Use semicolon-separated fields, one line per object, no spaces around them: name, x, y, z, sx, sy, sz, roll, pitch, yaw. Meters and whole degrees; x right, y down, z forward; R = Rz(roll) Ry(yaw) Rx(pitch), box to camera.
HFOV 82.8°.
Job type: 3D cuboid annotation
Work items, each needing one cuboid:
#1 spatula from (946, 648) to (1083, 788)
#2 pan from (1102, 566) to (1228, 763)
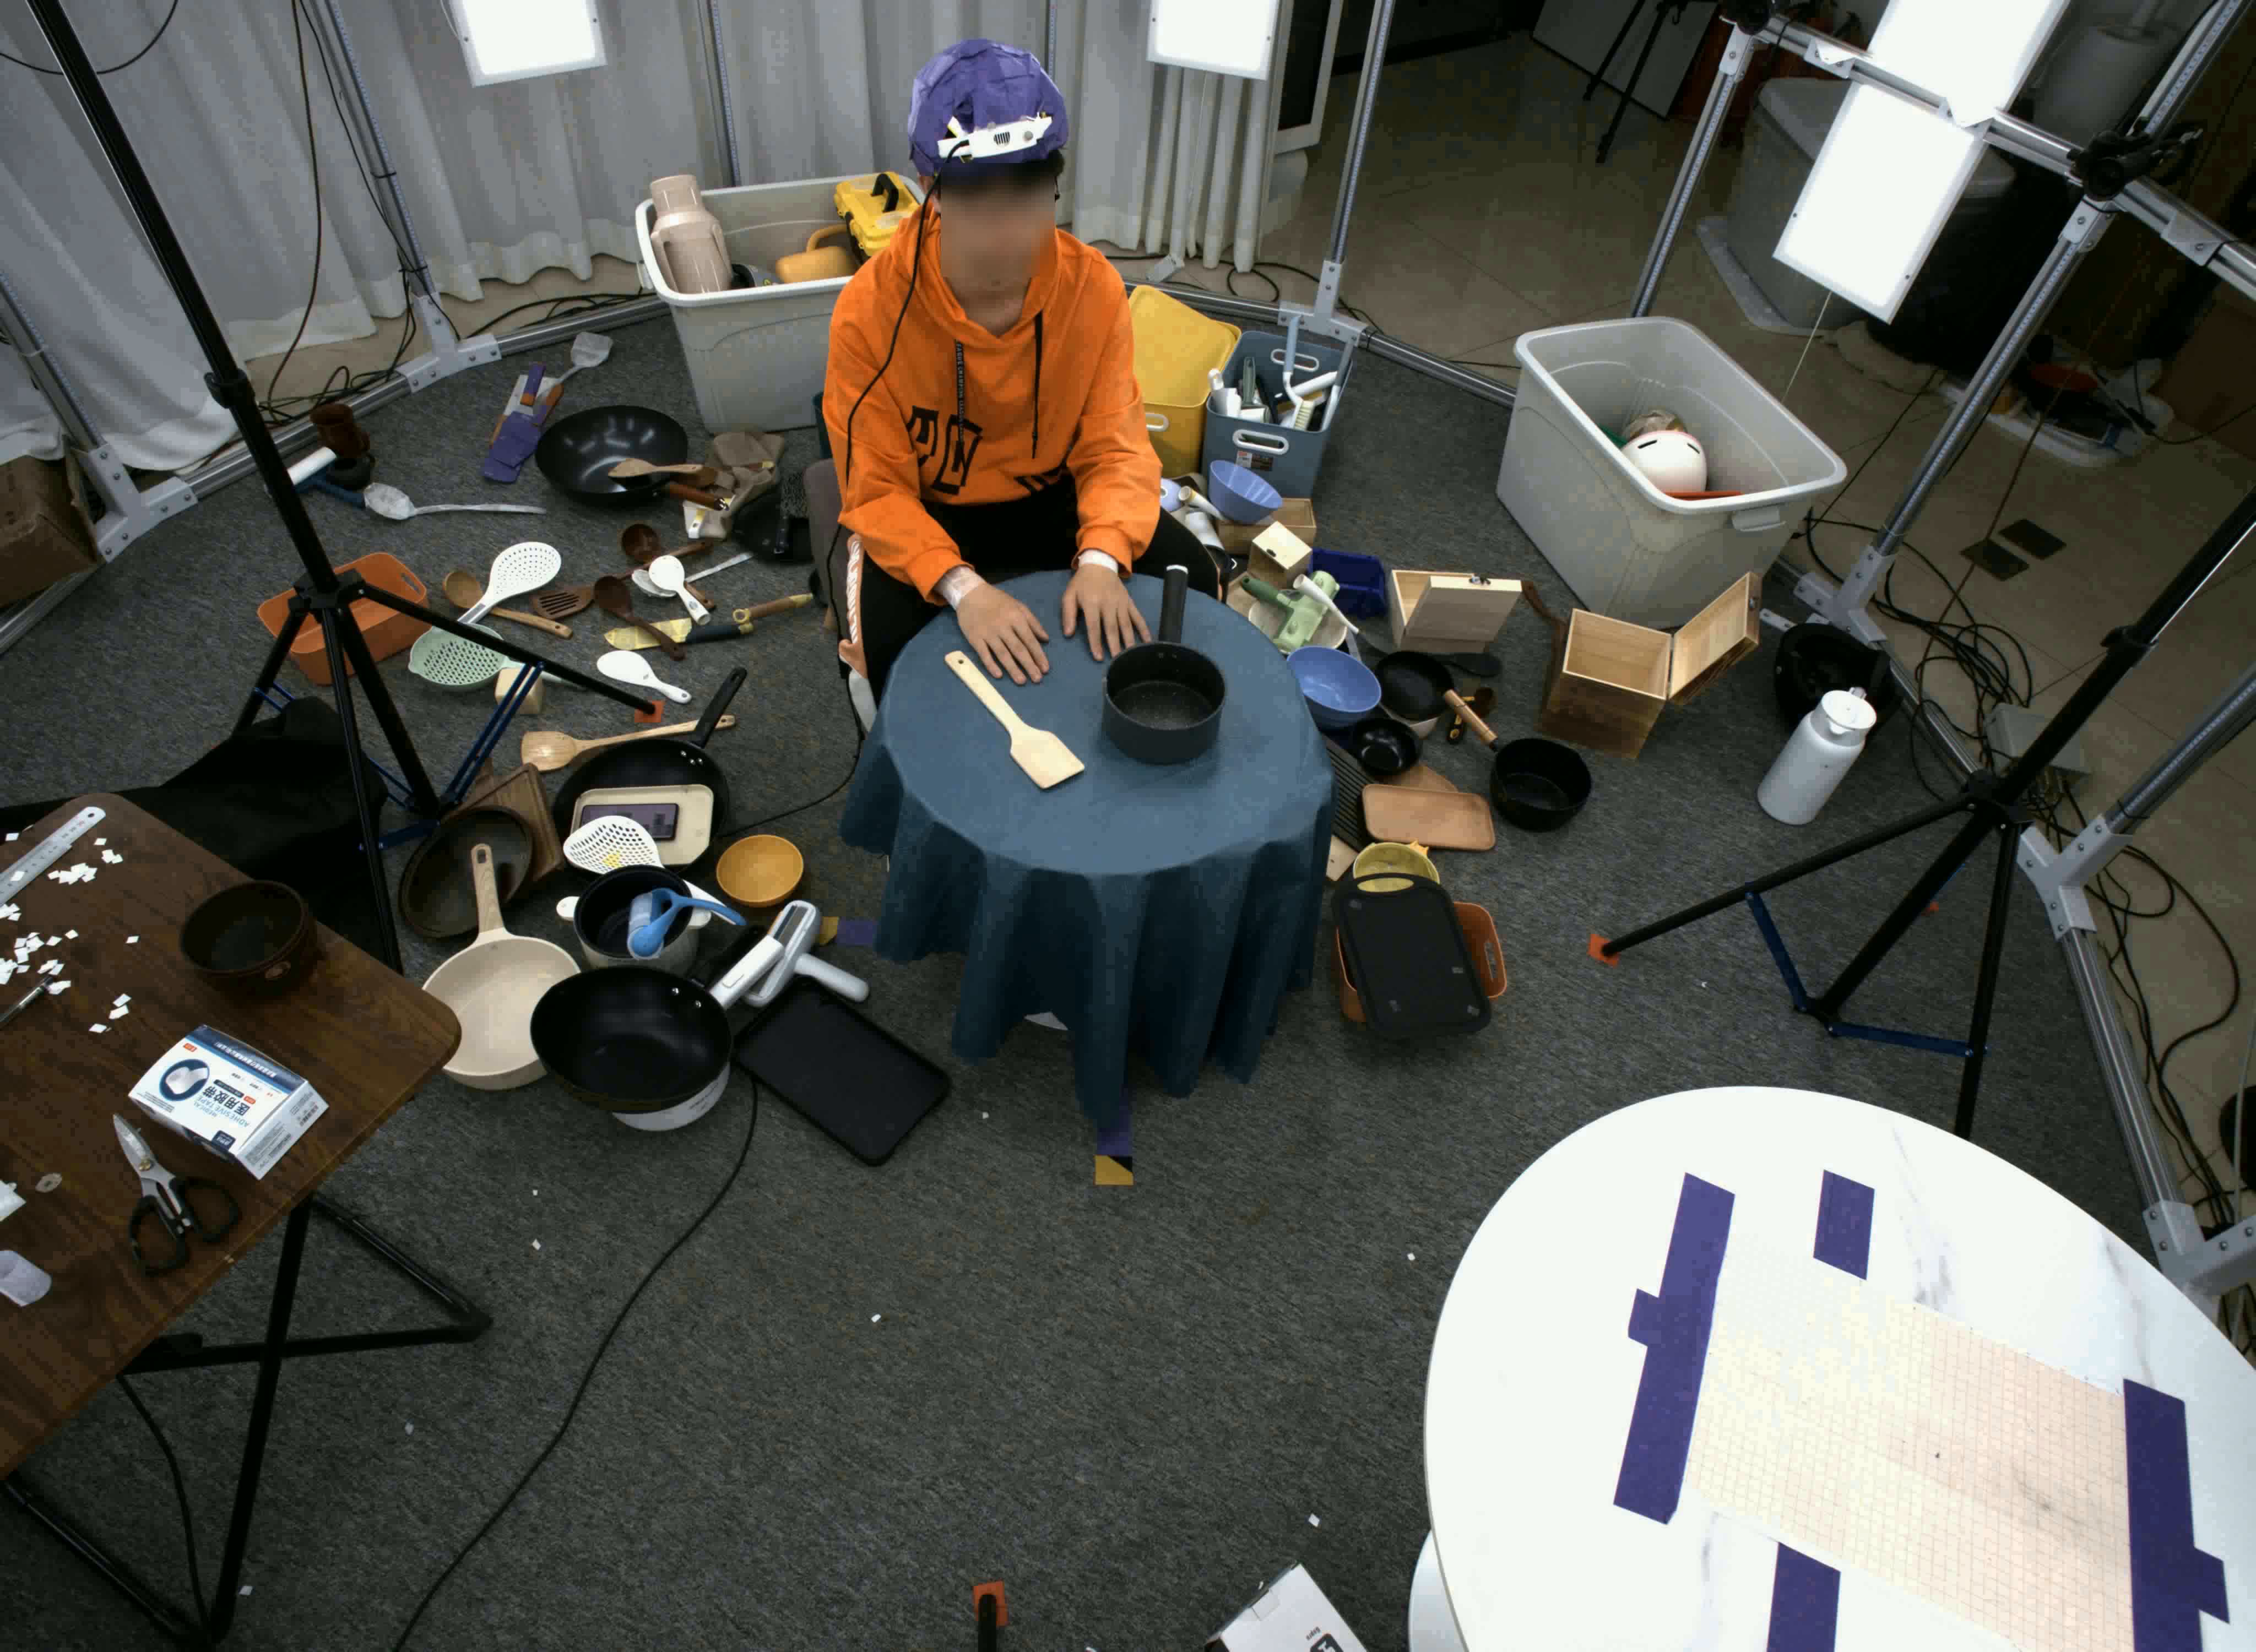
spatula;-0.171;-0.157;1.788;0.072;0.010;0.299;-28;56;-21
pan;0.059;-0.233;1.820;0.172;0.084;0.336;8;51;3
